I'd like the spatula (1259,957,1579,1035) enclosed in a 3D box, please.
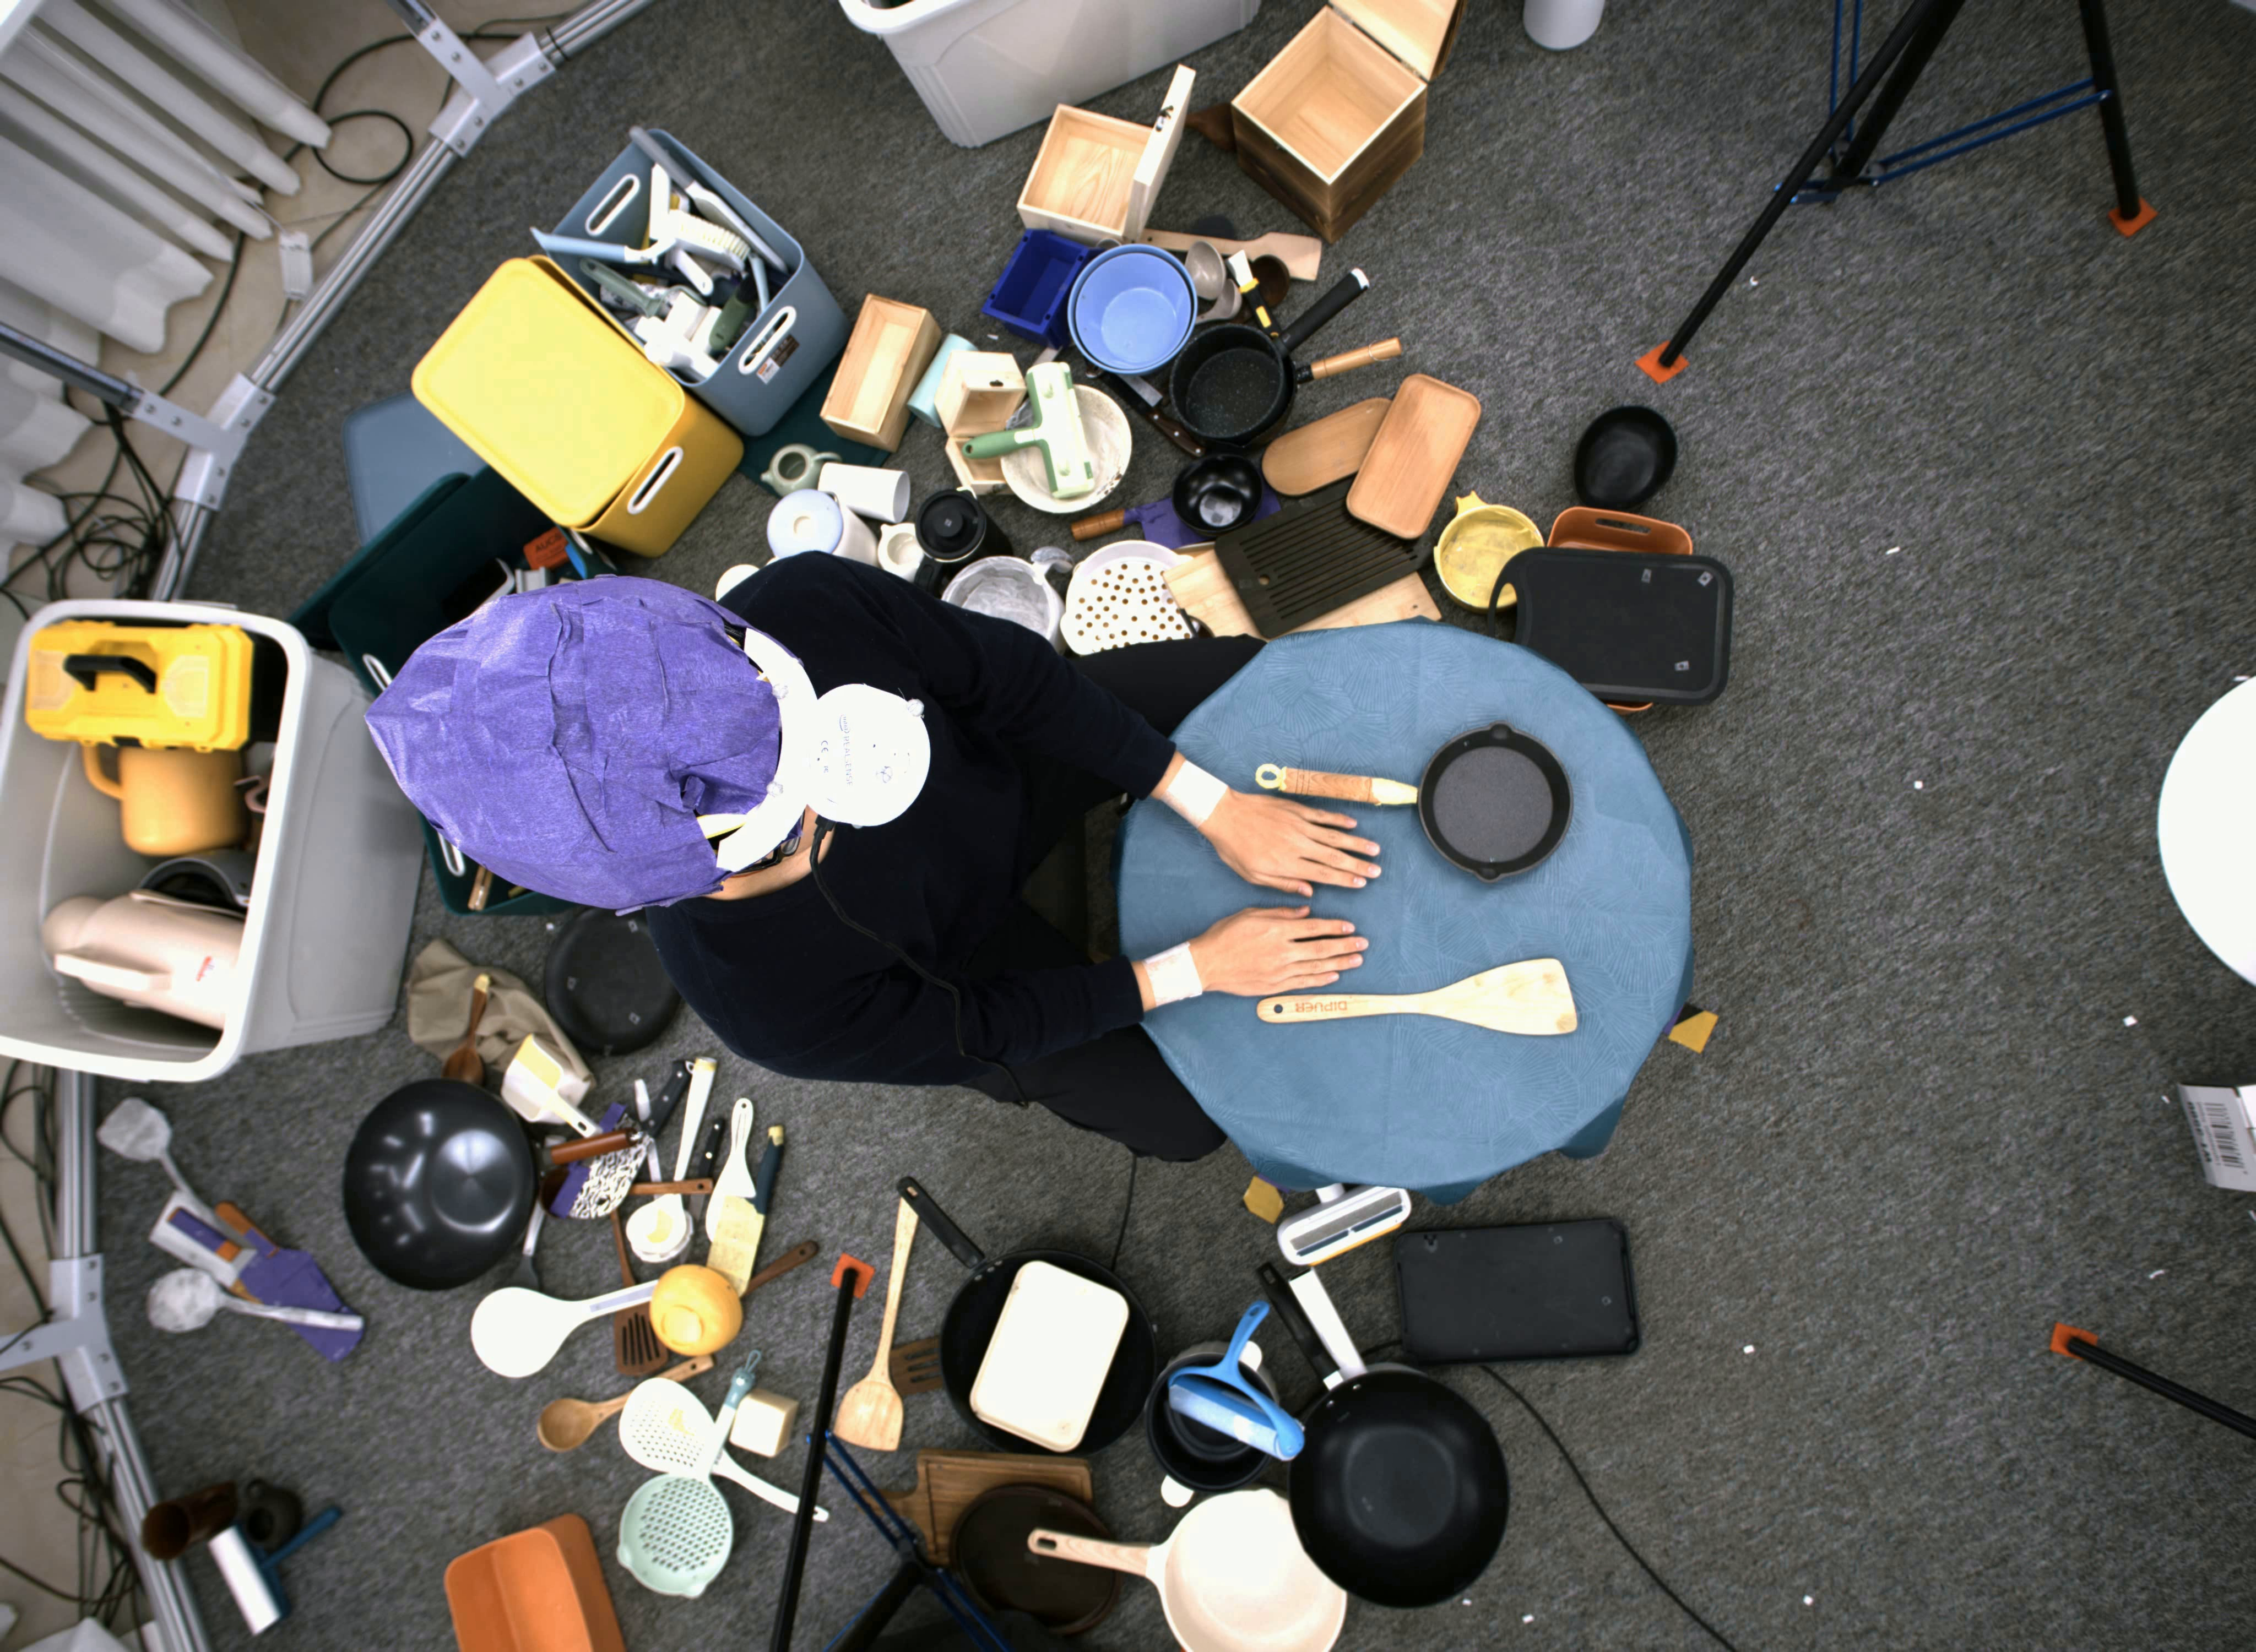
[{"bbox_3d":[0.299,0.182,1.440,0.329,0.016,0.079,-4,85,10],"label":"spatula"}]

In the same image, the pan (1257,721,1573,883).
[{"bbox_3d":[0.296,-0.037,1.436,0.325,0.049,0.168,8,88,10],"label":"pan"}]
